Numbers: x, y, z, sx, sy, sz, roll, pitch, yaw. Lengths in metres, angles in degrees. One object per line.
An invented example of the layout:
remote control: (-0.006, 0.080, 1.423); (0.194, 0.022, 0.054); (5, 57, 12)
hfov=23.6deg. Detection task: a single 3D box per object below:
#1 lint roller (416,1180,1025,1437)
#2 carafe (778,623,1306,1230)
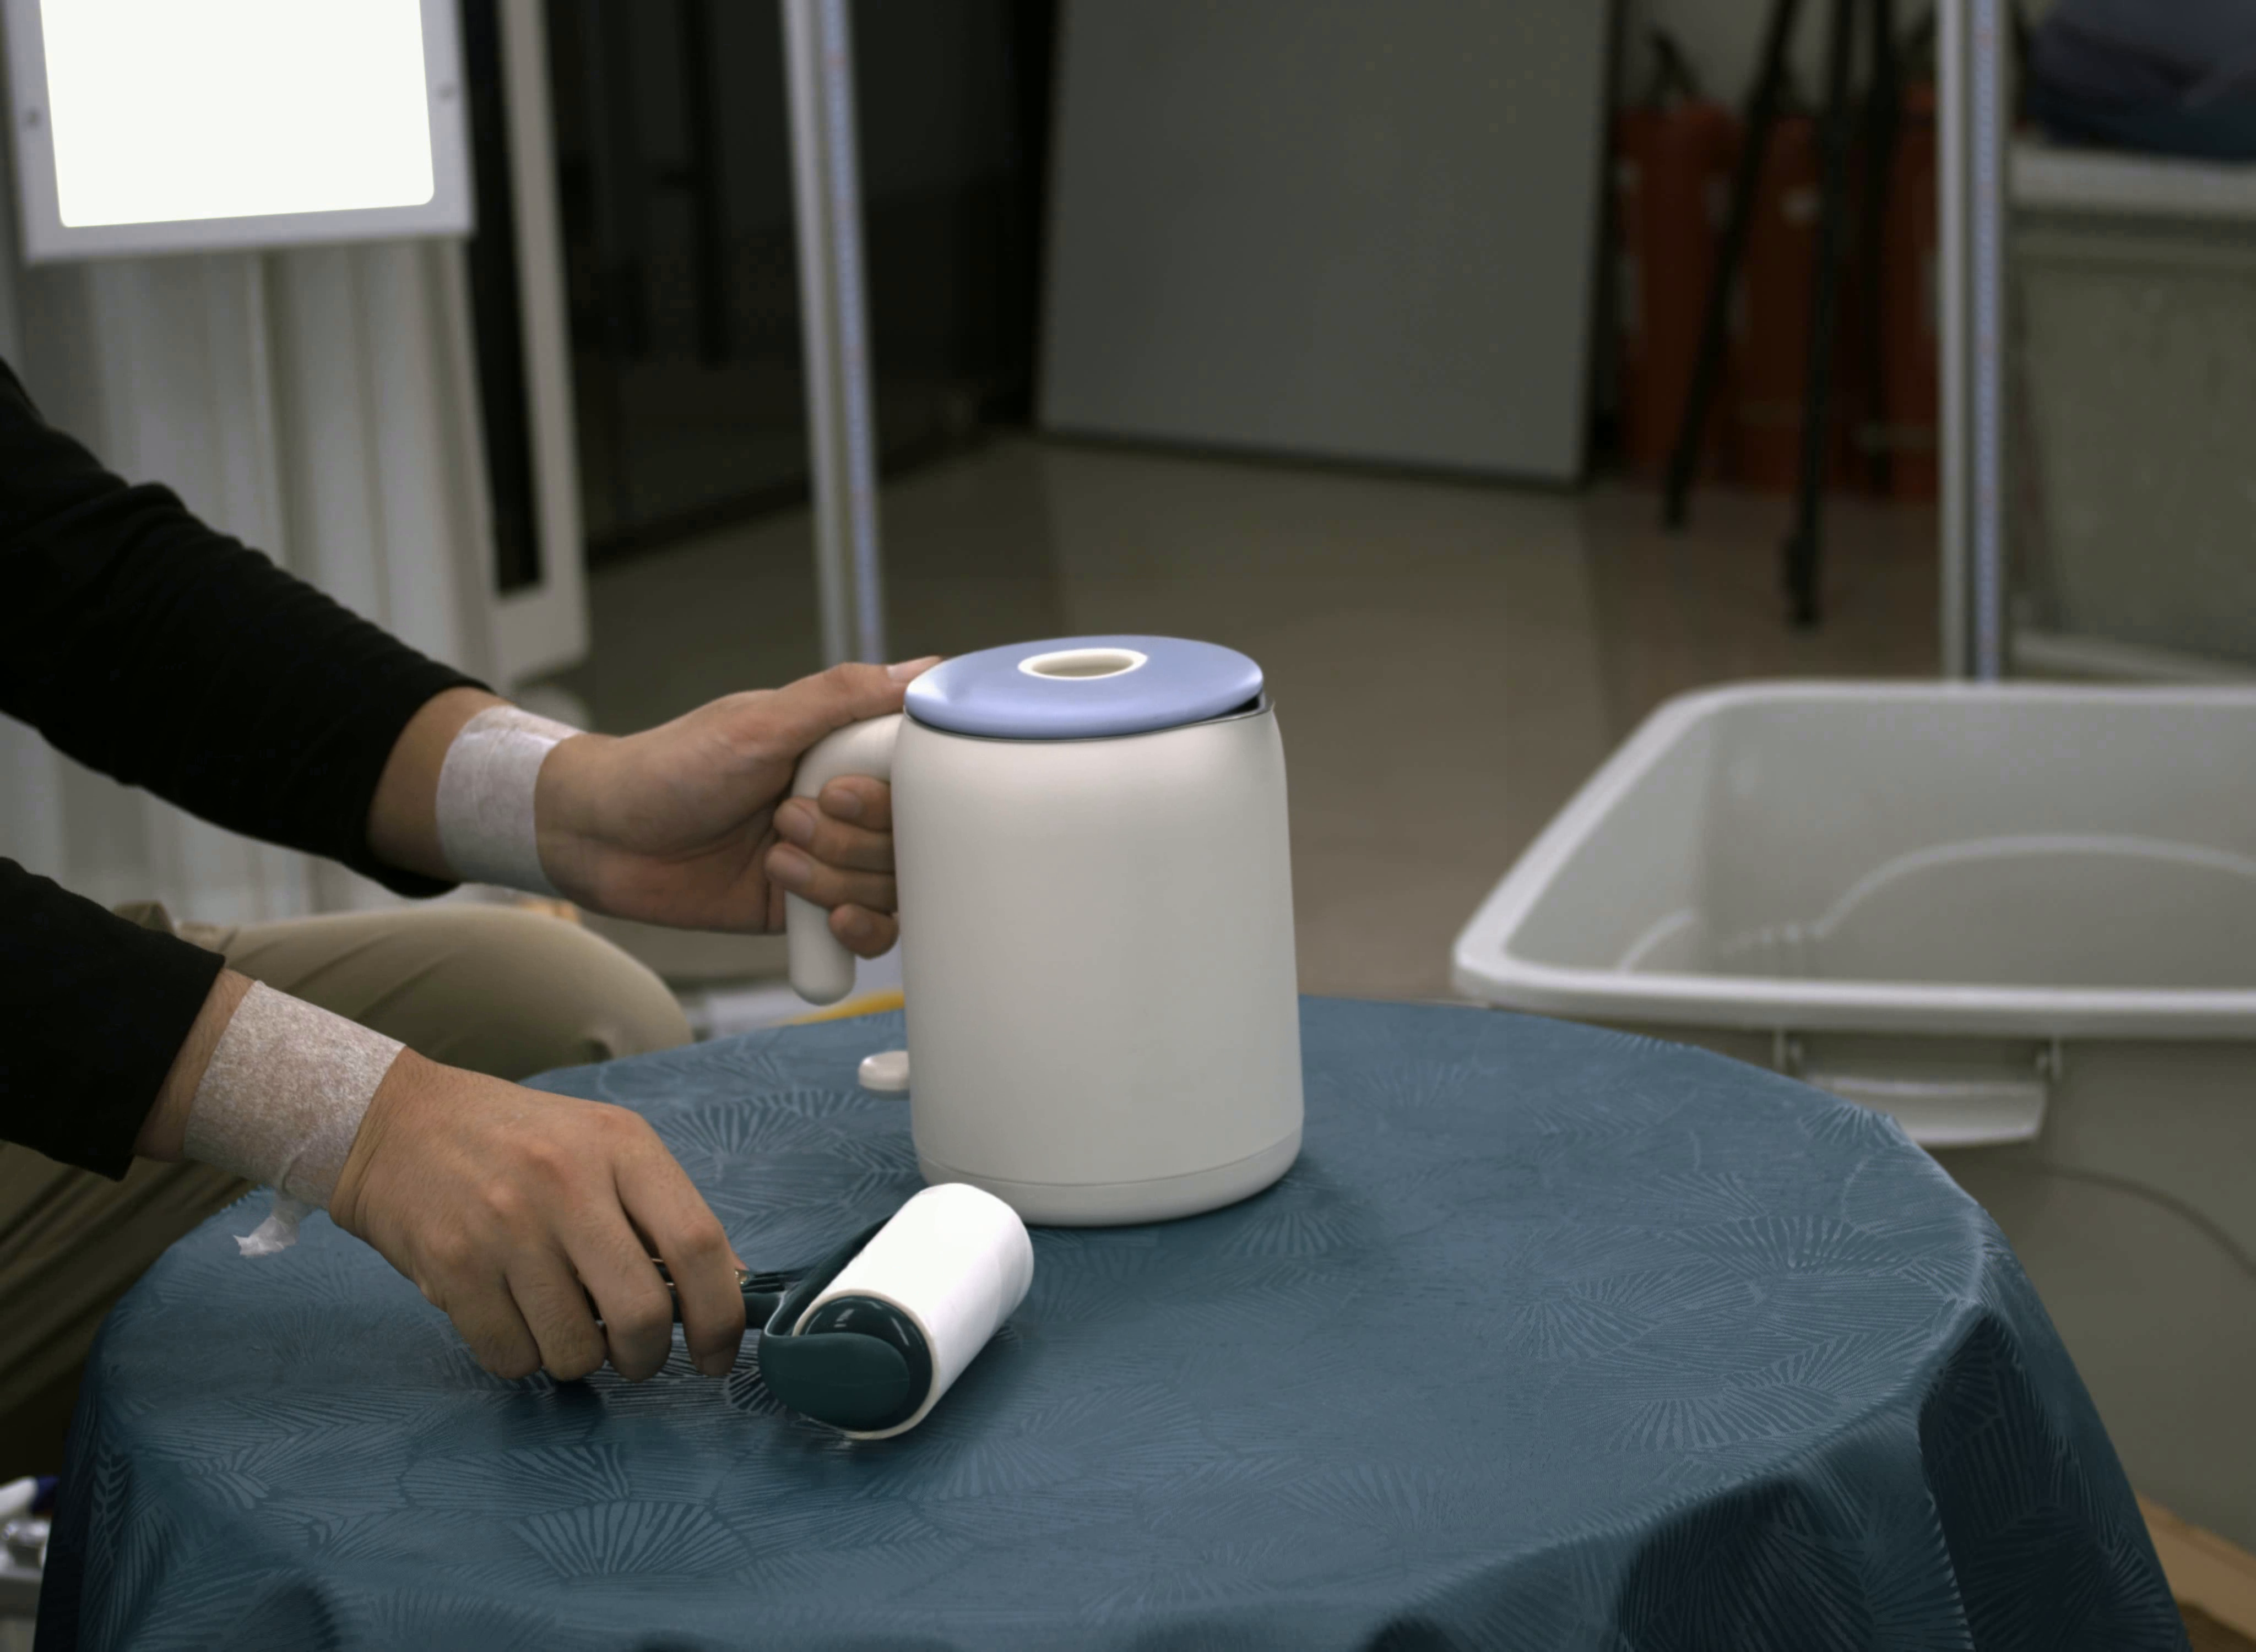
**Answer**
lint roller: (-0.128, 0.136, 1.617); (0.179, 0.049, 0.133); (5, 15, 15)
carafe: (-0.032, 0.031, 1.782); (0.191, 0.184, 0.130); (1, 13, 28)
